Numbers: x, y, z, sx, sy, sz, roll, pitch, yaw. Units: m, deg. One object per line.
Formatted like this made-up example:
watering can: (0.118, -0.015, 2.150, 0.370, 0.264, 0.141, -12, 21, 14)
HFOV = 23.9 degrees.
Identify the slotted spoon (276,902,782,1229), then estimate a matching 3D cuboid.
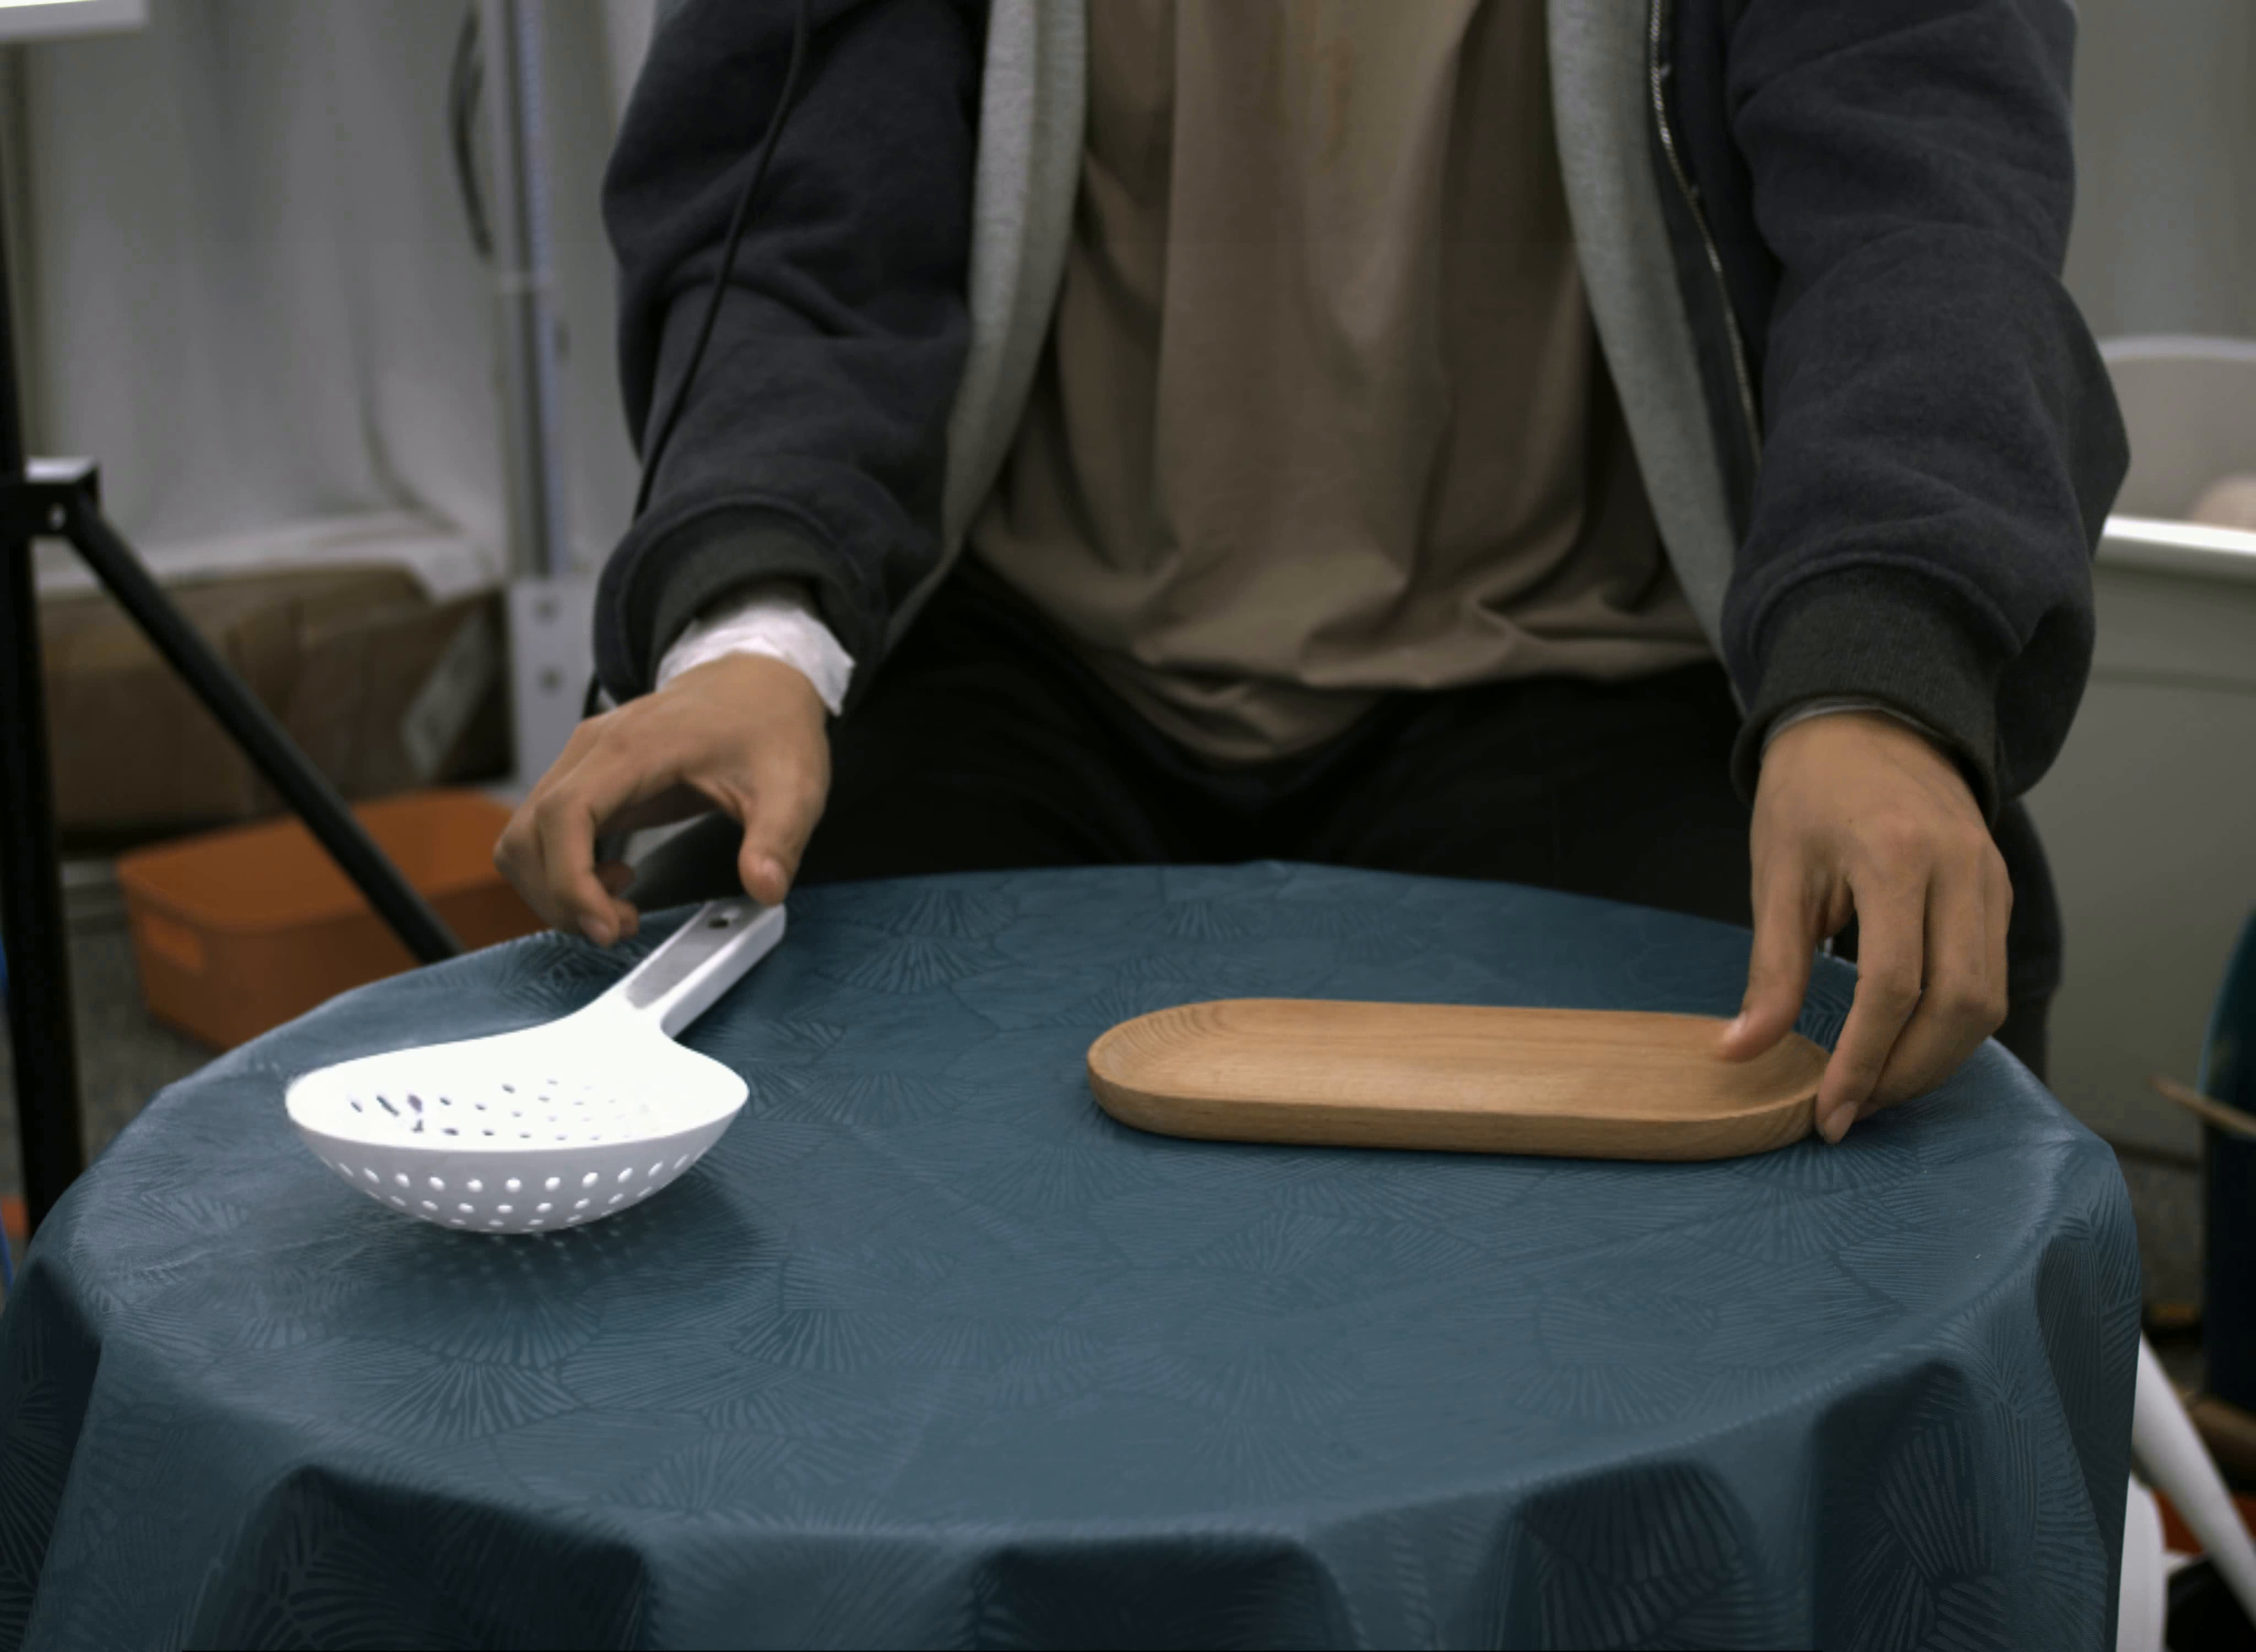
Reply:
slotted spoon: (-0.161, 0.065, 1.657, 0.136, 0.046, 0.348, 2, 15, 10)

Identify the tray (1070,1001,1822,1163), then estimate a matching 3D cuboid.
tray: (0.096, 0.078, 1.619, 0.233, 0.020, 0.101, 1, 15, 15)
